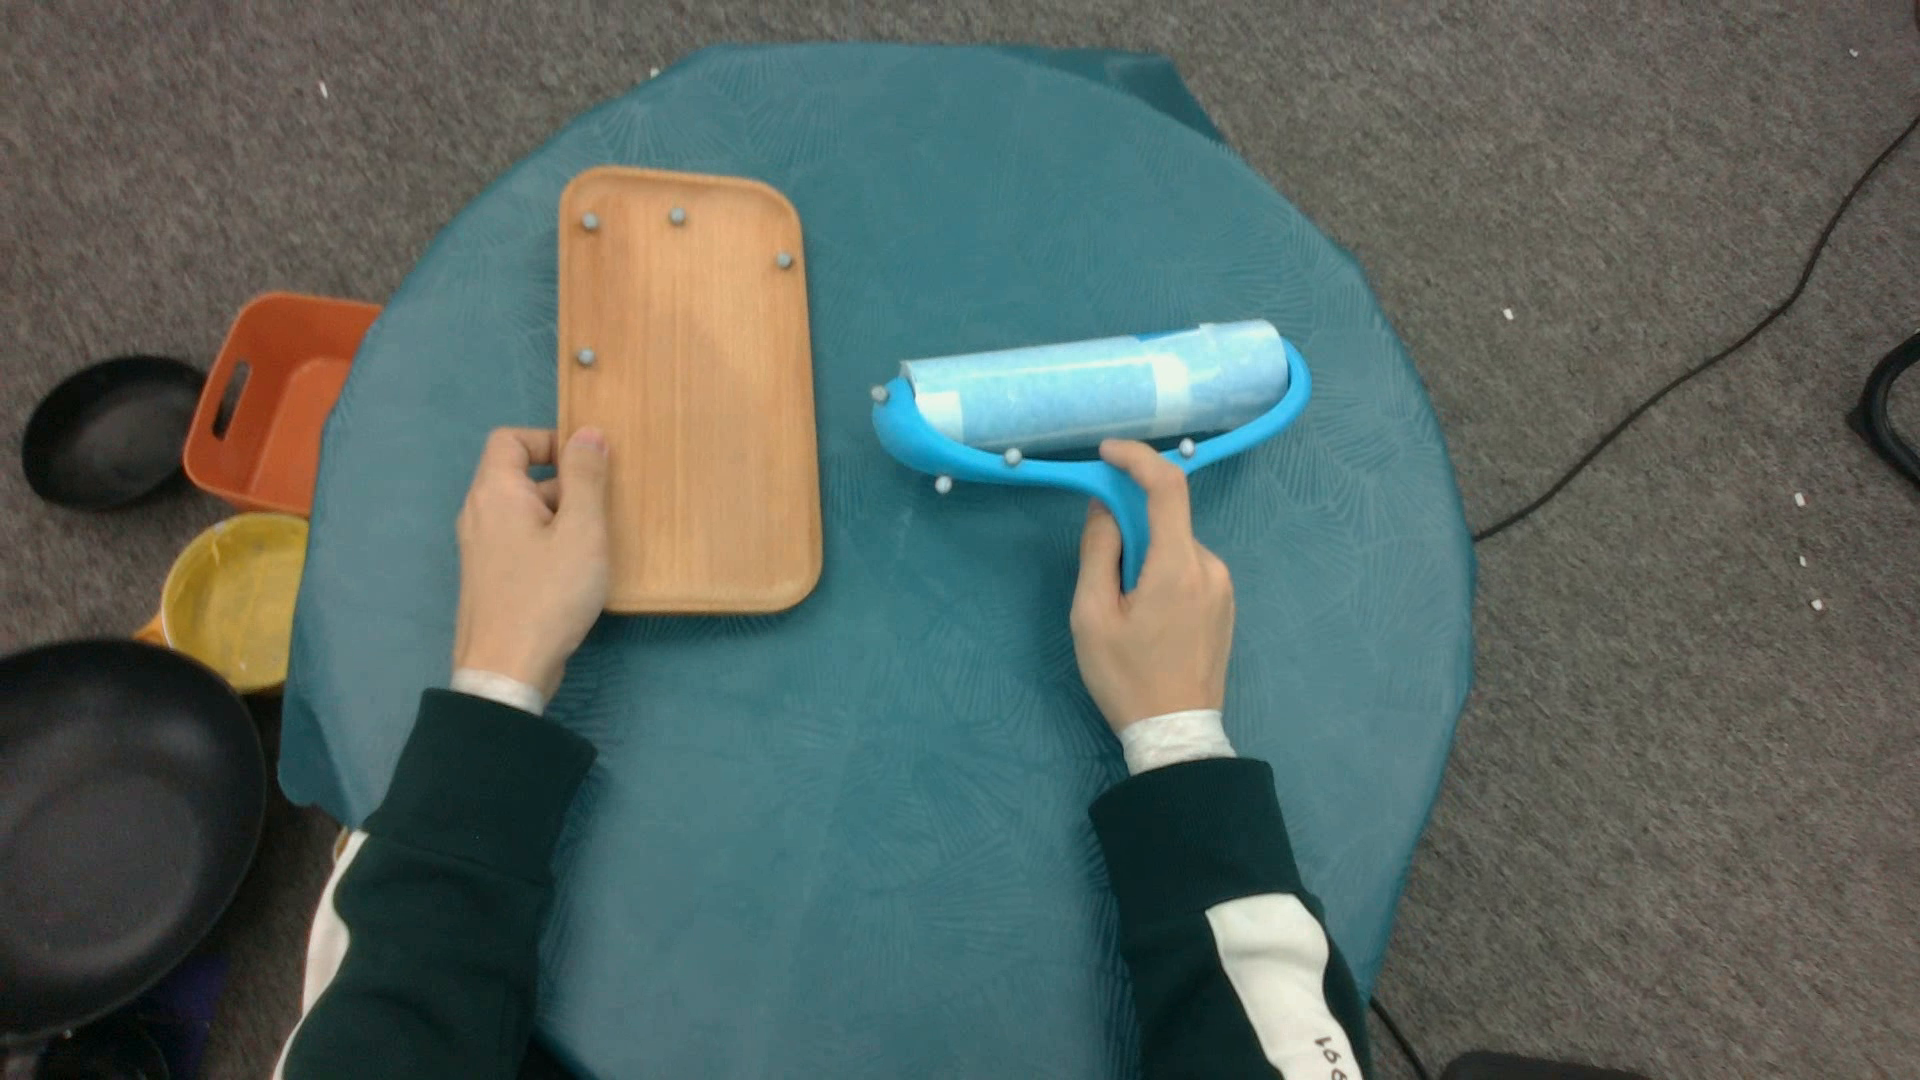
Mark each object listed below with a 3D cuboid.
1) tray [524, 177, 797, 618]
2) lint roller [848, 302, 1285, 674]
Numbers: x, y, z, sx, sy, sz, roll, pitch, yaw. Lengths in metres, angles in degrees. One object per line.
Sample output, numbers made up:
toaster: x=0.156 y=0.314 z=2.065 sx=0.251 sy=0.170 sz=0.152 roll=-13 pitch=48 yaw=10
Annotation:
tray: x=-0.156 y=-0.077 z=0.707 sx=0.131 sy=0.023 sz=0.251 roll=0 pitch=67 yaw=-16
lint roller: x=0.071 y=-0.026 z=0.691 sx=0.229 sy=0.067 sz=0.180 roll=-12 pitch=75 yaw=-13
